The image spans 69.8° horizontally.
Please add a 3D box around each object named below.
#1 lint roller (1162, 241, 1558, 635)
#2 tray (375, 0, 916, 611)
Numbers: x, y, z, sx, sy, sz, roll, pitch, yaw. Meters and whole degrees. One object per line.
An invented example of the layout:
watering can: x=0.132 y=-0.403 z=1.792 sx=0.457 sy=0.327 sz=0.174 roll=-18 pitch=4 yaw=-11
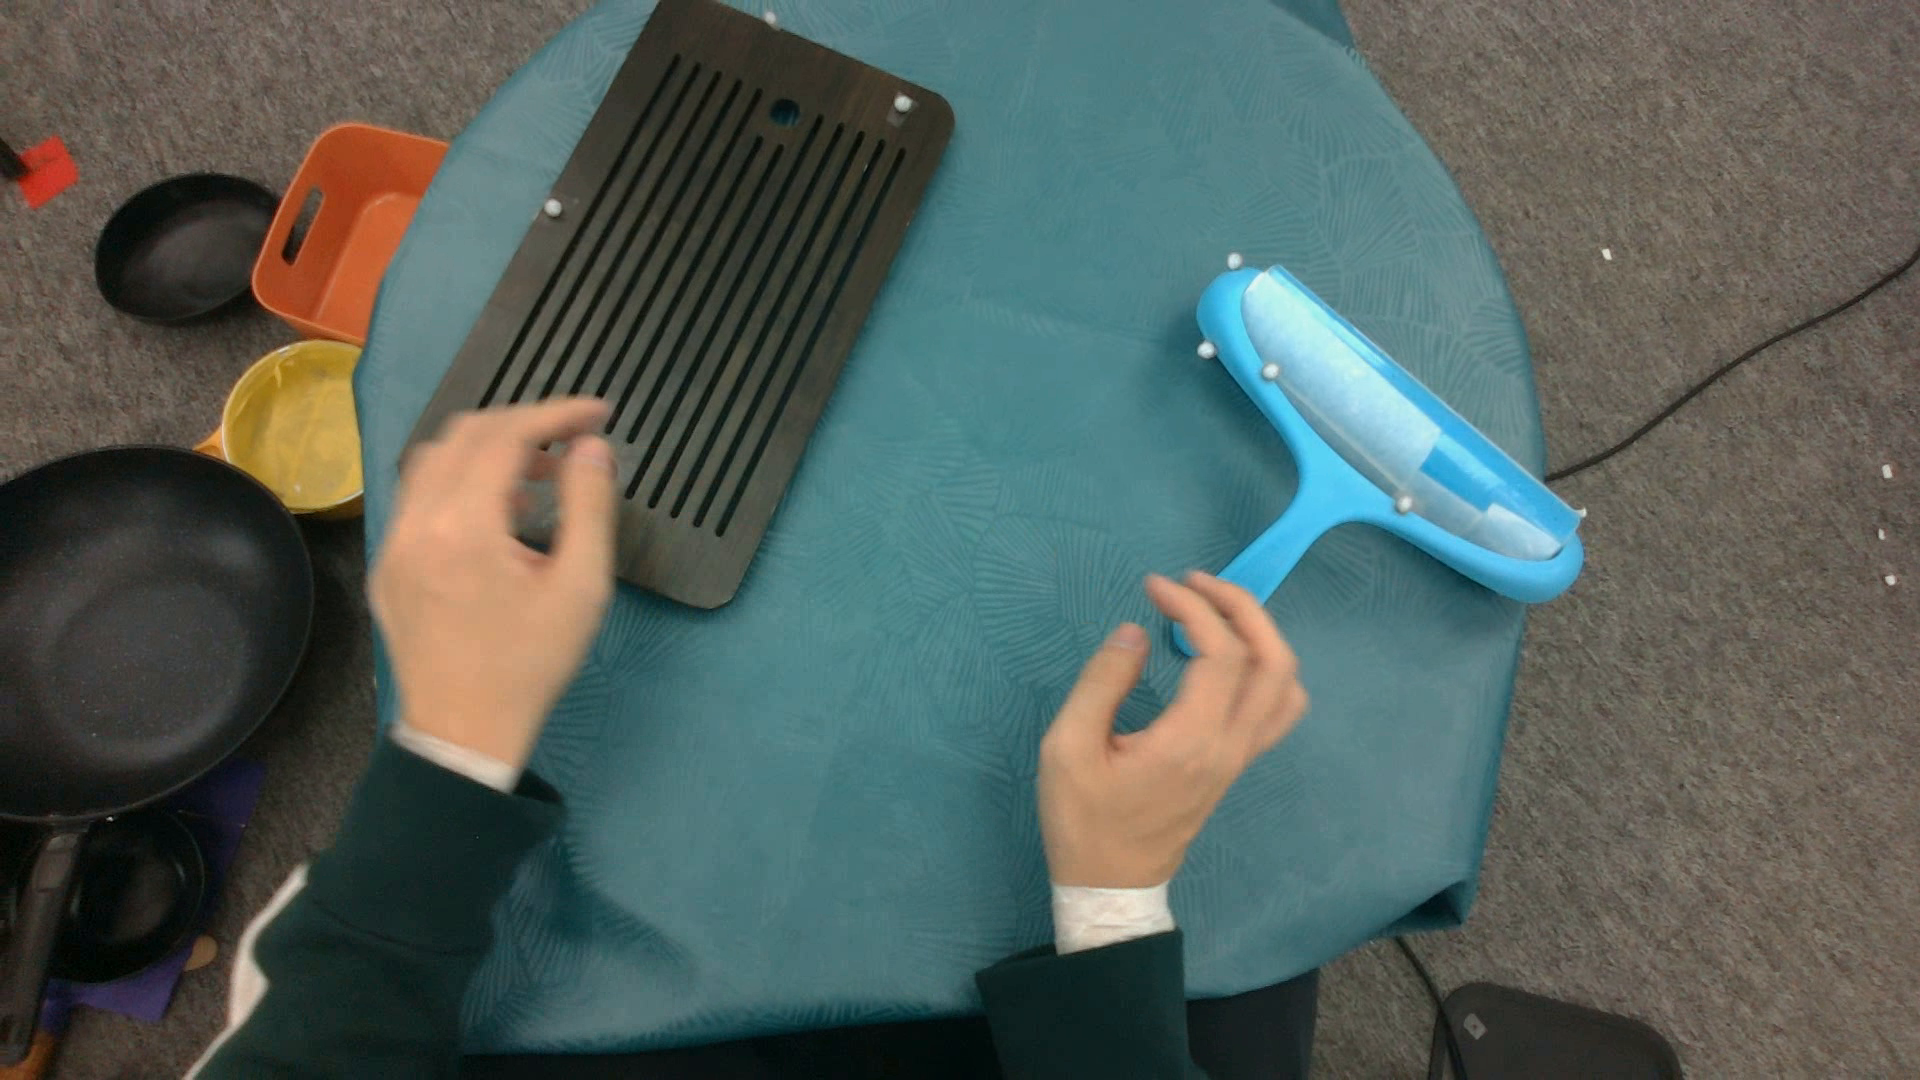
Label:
lint roller: x=0.166 y=-0.028 z=0.672 sx=0.229 sy=0.067 sz=0.181 roll=38 pitch=71 yaw=5
tray: x=-0.149 y=-0.127 z=0.693 sx=0.170 sy=0.018 sz=0.307 roll=20 pitch=72 yaw=1
